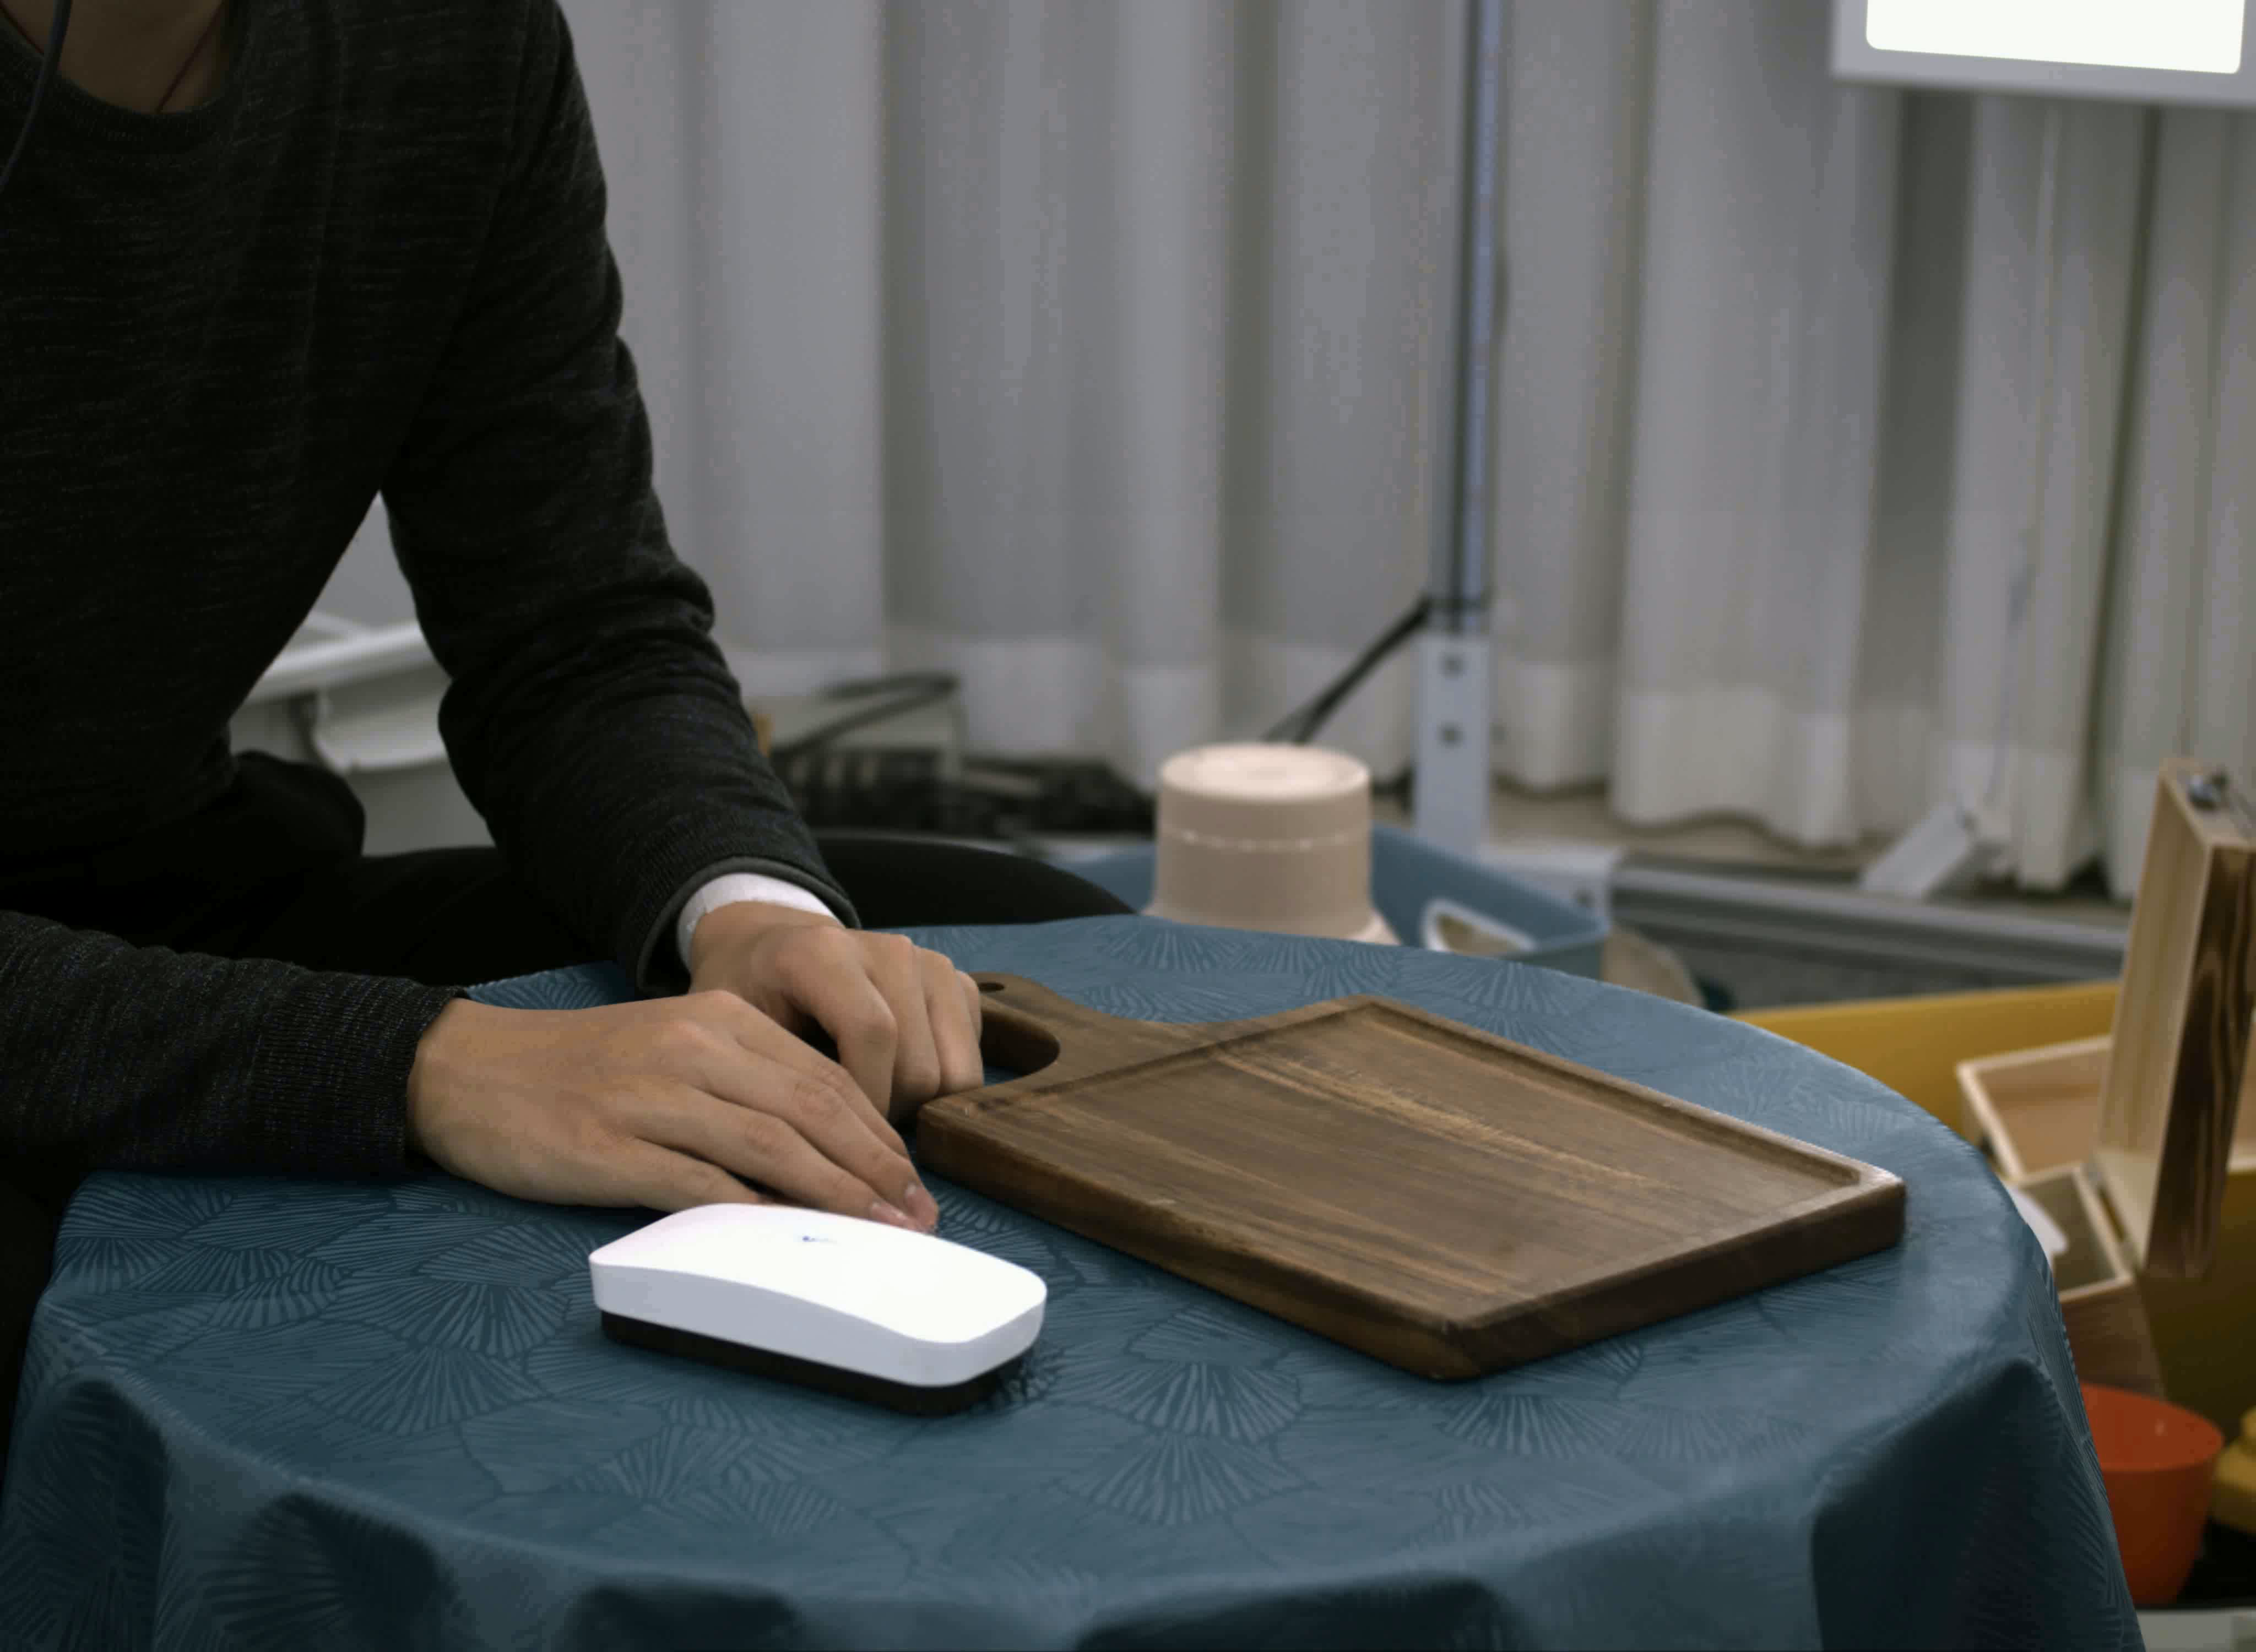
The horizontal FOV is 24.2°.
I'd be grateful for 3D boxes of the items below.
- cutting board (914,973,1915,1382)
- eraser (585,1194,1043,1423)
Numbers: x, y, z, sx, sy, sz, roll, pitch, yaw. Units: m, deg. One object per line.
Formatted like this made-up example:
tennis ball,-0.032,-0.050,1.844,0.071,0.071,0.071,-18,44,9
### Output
cutting board,0.053,0.095,1.645,0.202,0.023,0.347,-12,20,-39
eraser,-0.088,0.133,1.485,0.129,0.035,0.063,12,20,31
